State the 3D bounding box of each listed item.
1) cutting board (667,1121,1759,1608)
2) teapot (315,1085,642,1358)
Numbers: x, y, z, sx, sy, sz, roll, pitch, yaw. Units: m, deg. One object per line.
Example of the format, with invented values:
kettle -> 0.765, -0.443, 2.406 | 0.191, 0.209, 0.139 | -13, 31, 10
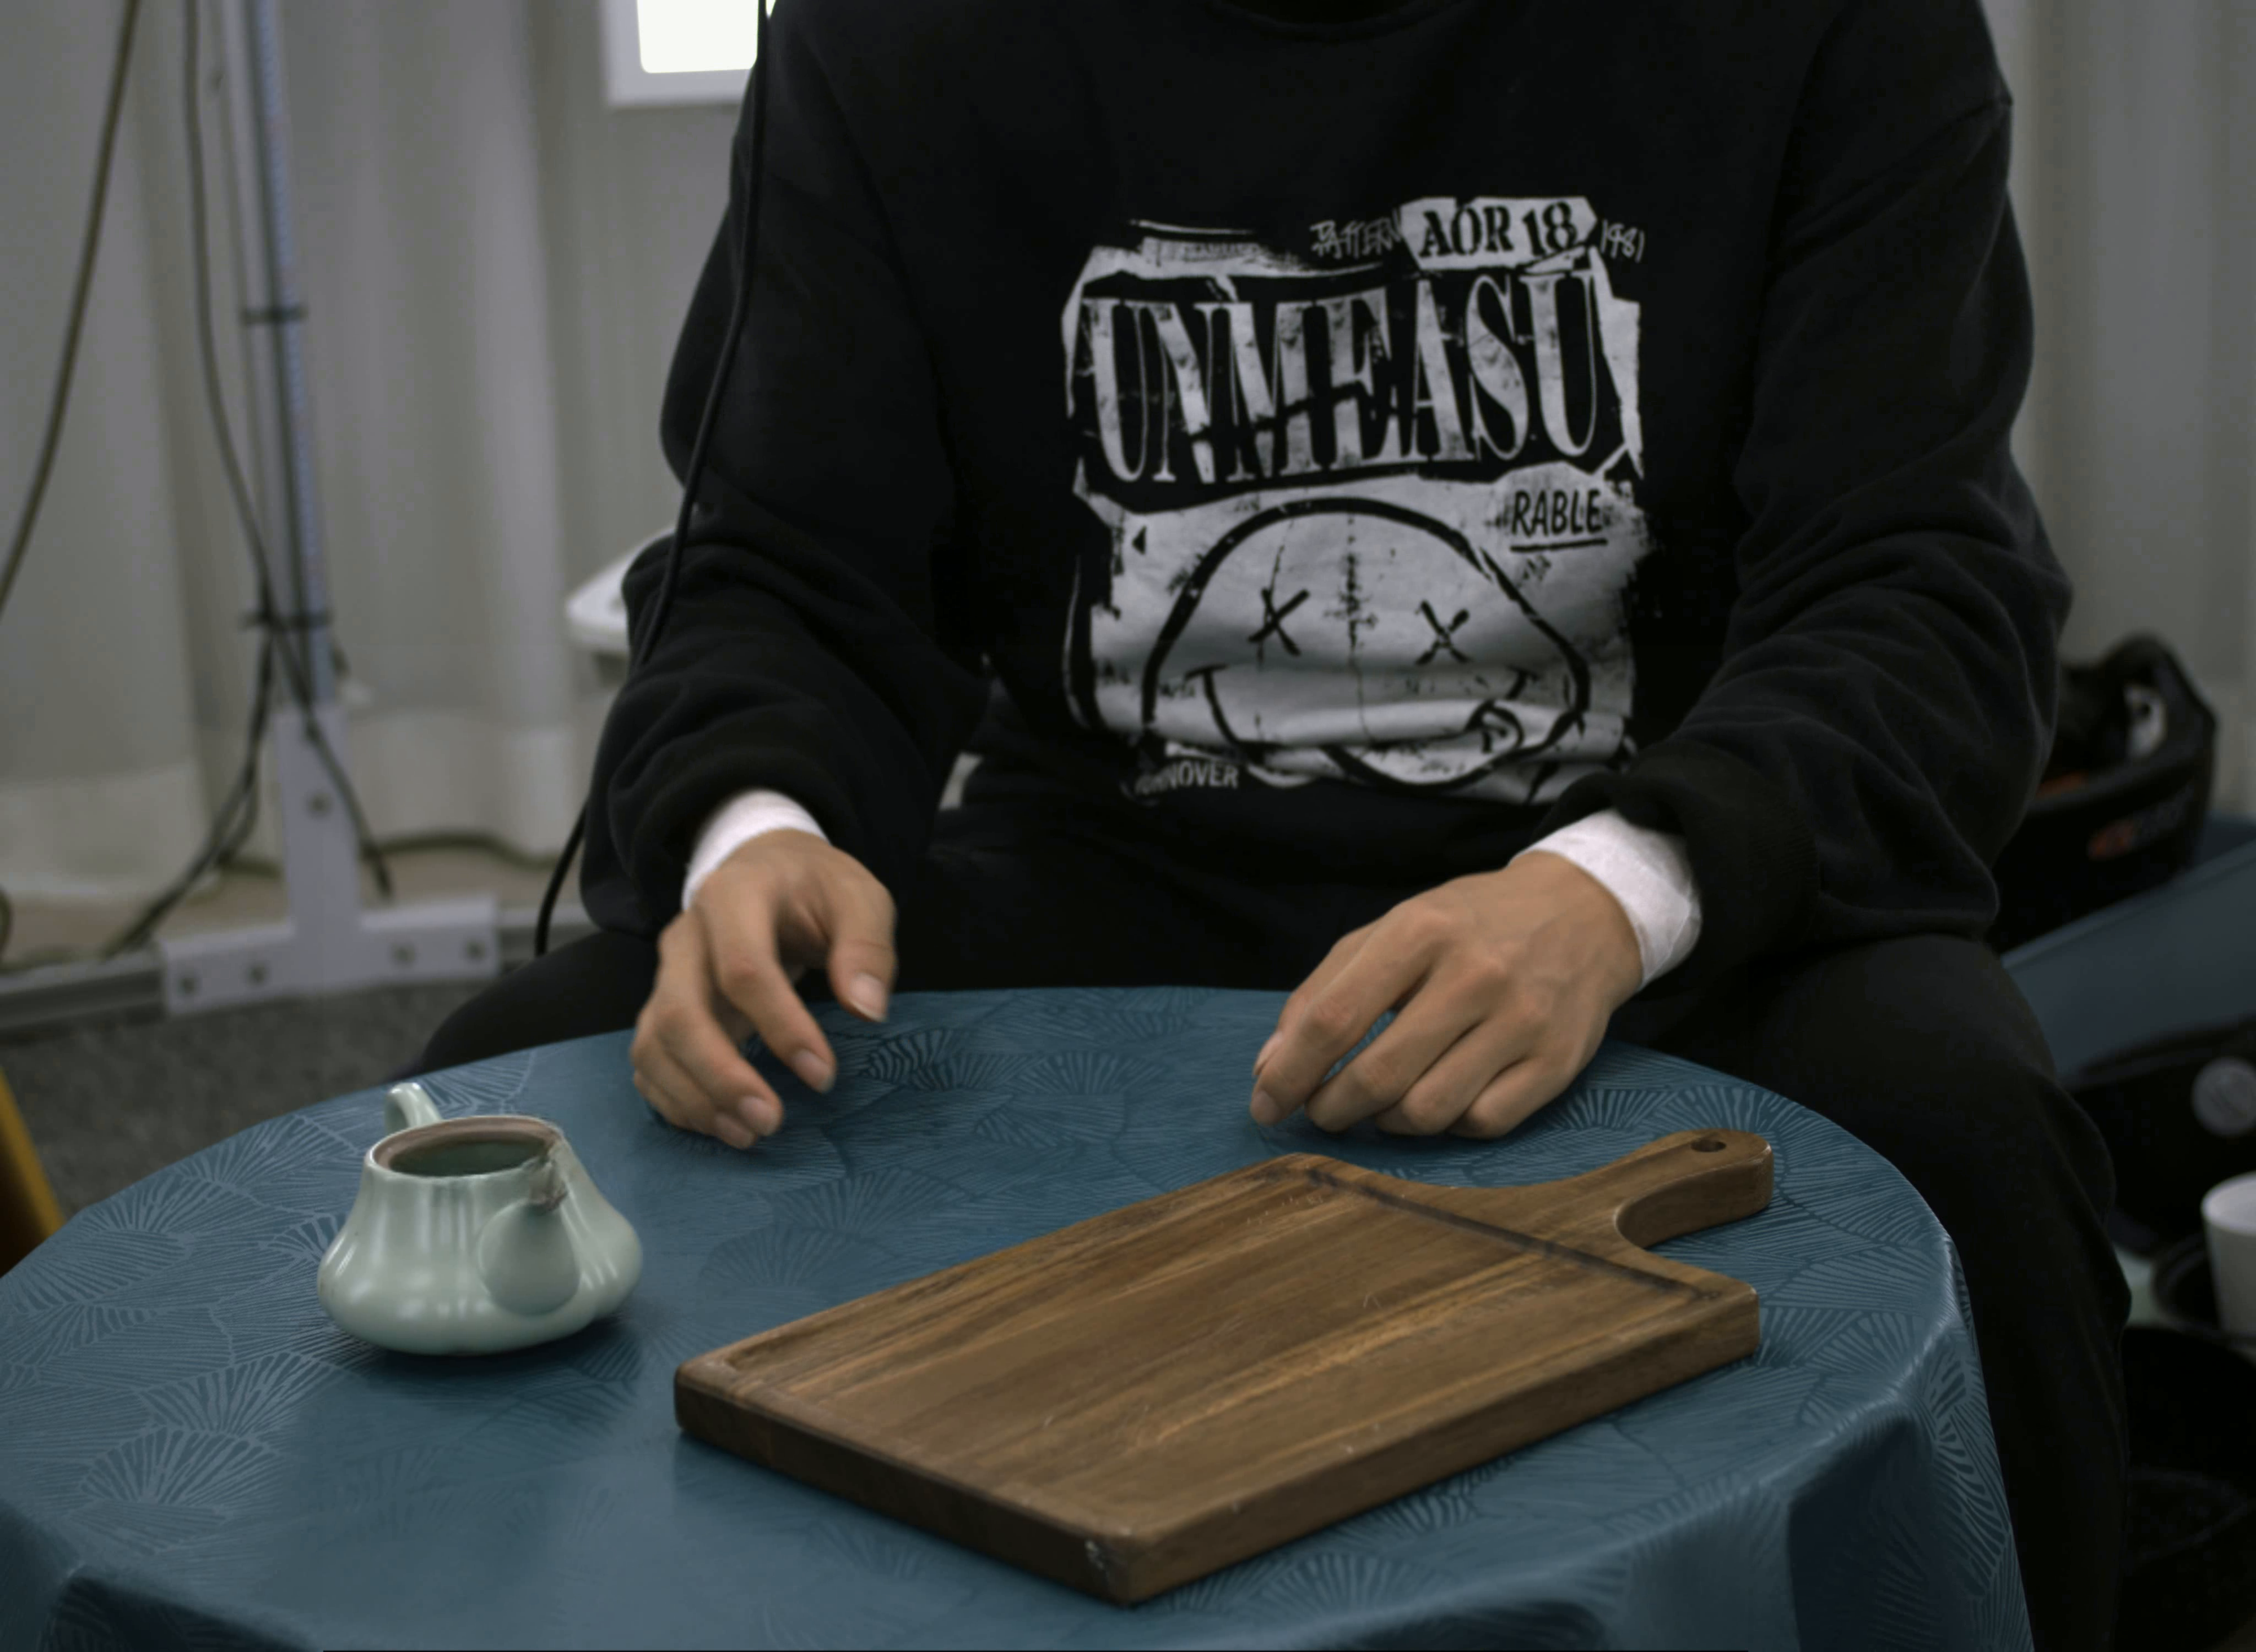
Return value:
cutting board -> 0.061, 0.139, 1.569 | 0.351, 0.023, 0.202 | -16, 20, -41
teapot -> -0.195, 0.119, 1.620 | 0.096, 0.061, 0.138 | -12, 17, -27
